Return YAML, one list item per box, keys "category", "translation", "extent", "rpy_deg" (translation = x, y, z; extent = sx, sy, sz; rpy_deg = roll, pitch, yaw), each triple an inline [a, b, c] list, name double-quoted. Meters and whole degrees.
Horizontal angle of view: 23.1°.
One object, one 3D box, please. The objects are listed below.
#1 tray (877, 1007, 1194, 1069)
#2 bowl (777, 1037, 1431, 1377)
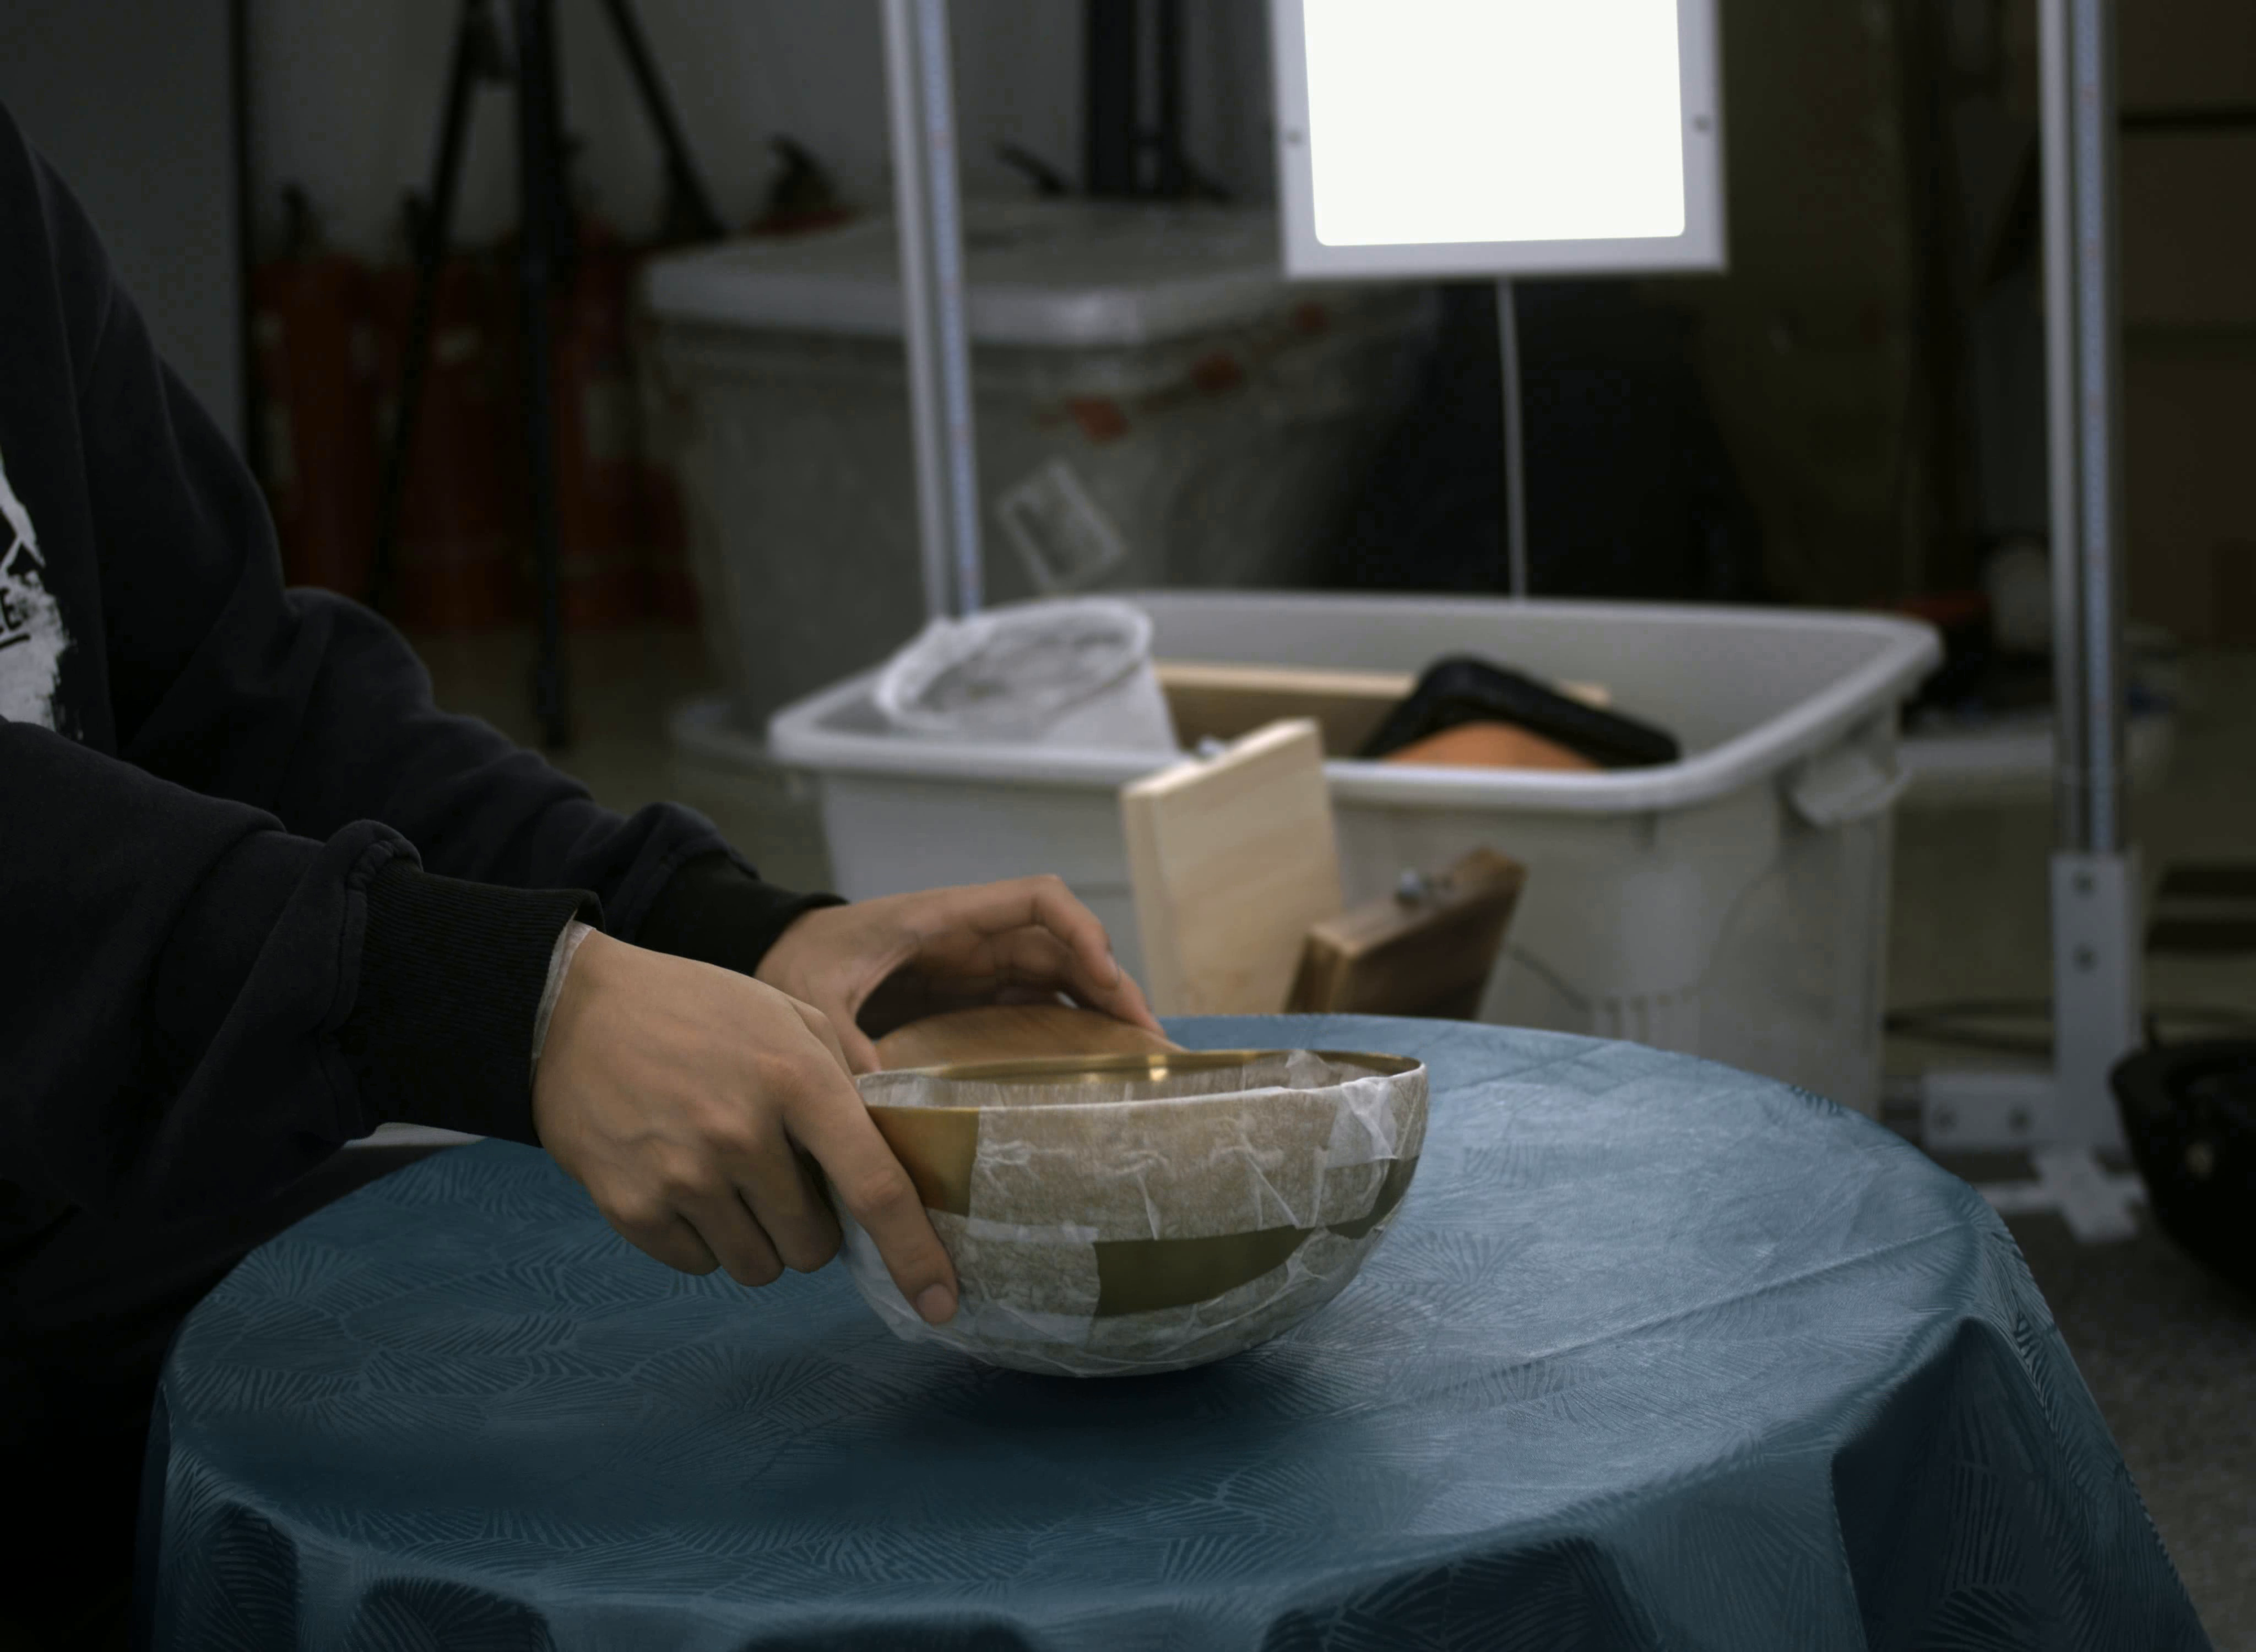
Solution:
- category: "tray"
  translation: [-0.004, 0.103, 1.939]
  extent: [0.099, 0.020, 0.235]
  rpy_deg: [-15, 22, -30]
- category: "bowl"
  translation: [-0.004, 0.120, 1.712]
  extent: [0.214, 0.095, 0.215]
  rpy_deg: [-4, 3, -1]
